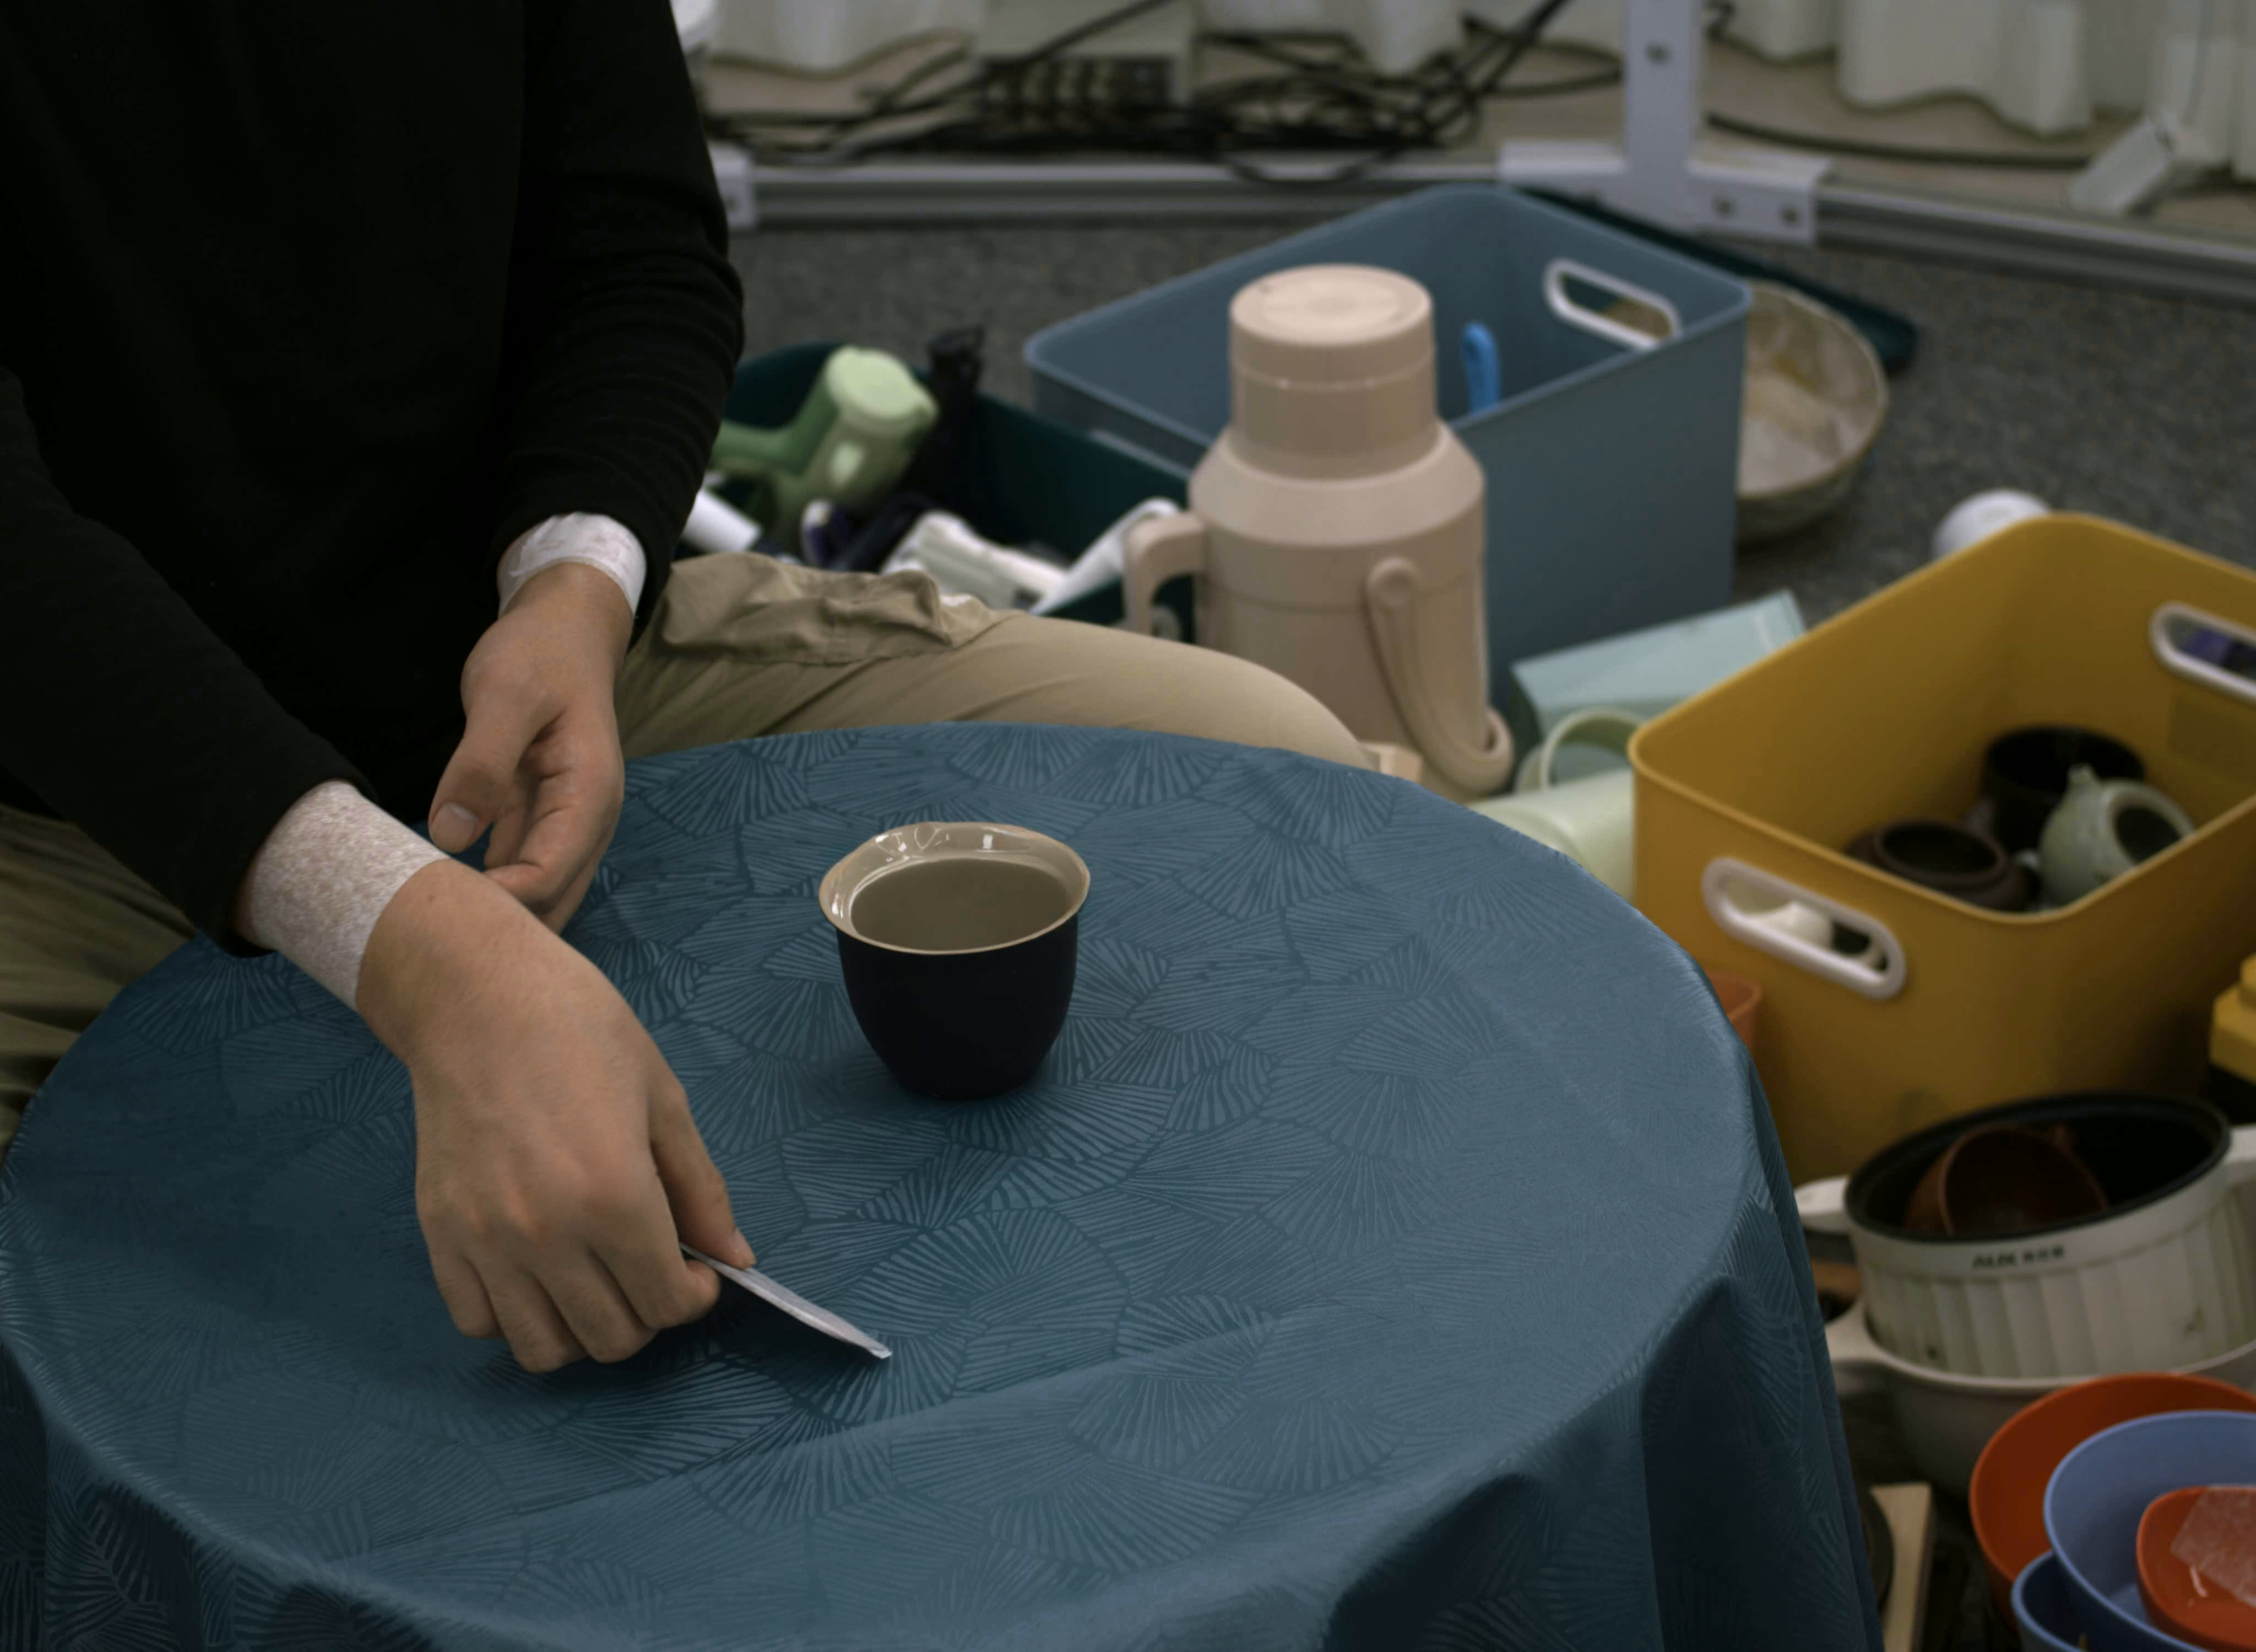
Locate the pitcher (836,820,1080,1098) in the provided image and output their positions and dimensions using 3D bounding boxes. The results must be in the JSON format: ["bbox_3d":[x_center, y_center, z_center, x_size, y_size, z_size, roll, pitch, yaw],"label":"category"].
[{"bbox_3d":[-0.059,0.049,1.930,0.084,0.070,0.096,-15,30,-19],"label":"pitcher"}]

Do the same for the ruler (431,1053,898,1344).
[{"bbox_3d":[-0.154,0.120,1.836,0.218,0.024,0.038,23,3,43],"label":"ruler"}]
